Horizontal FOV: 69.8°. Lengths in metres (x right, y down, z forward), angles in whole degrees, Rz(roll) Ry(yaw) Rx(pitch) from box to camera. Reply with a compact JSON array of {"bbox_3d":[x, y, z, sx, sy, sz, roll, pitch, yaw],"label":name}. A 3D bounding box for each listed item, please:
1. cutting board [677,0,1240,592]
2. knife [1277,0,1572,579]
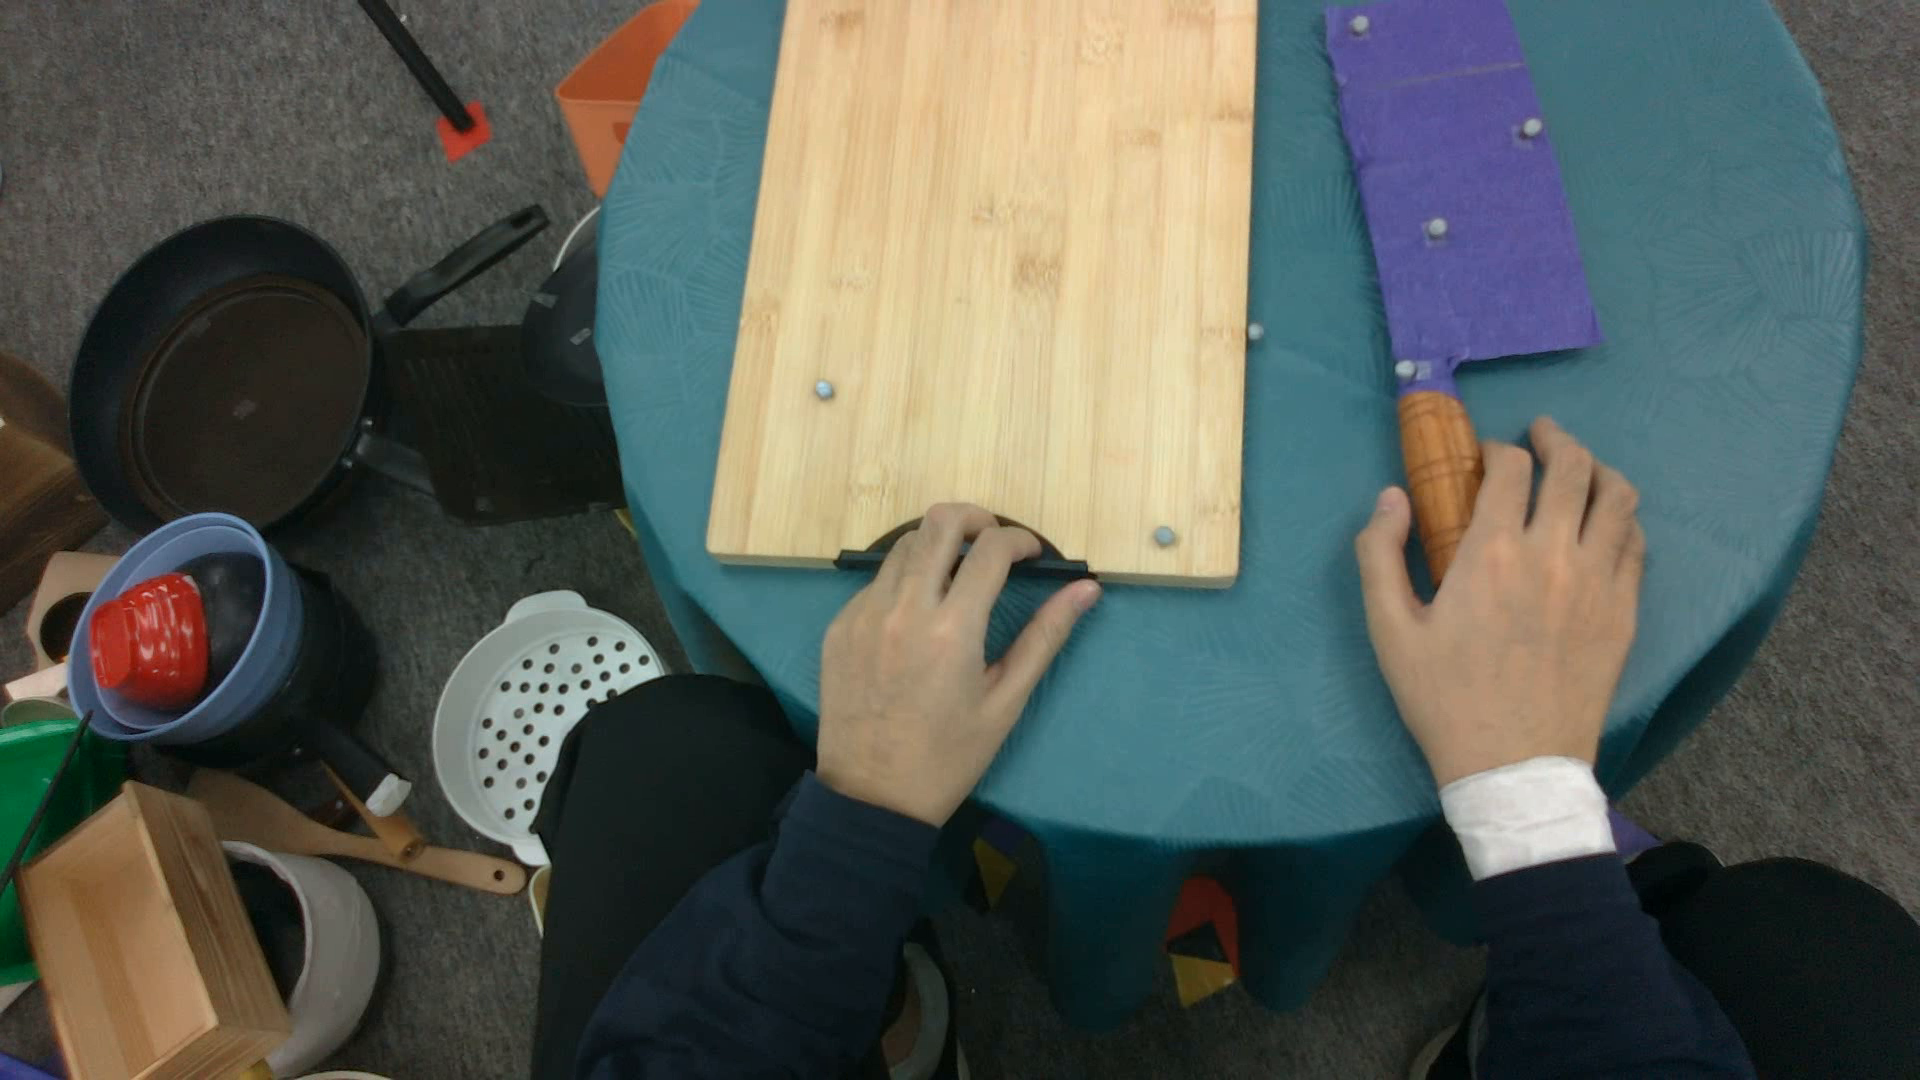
[{"bbox_3d":[0.008,-0.148,0.669,0.250,0.023,0.349,2,71,7],"label":"cutting board"},{"bbox_3d":[0.226,-0.138,0.635,0.104,0.032,0.316,-8,70,4],"label":"knife"}]
